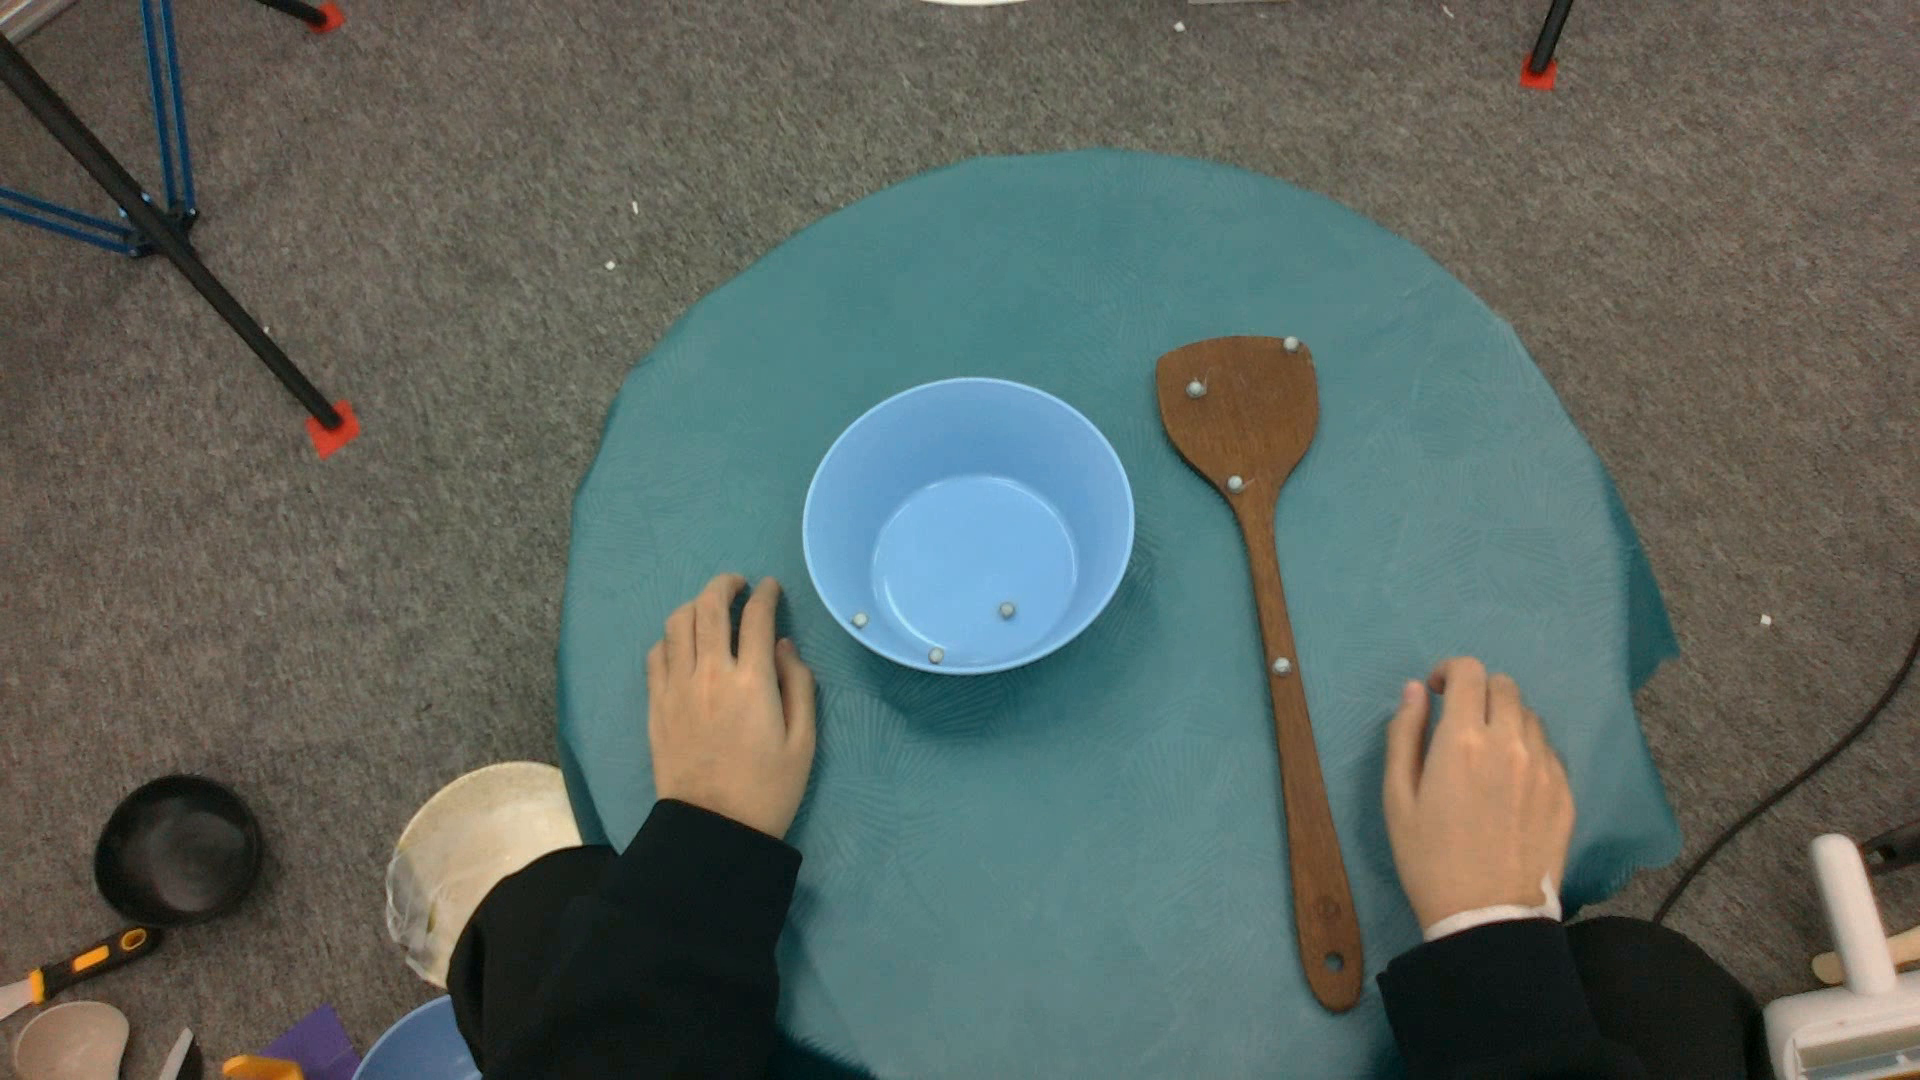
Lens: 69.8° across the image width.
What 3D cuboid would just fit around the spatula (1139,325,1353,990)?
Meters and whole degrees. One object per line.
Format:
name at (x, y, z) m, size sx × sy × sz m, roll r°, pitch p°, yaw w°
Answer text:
spatula at (0.166, 0.044, 0.750) m, size 0.096 × 0.016 × 0.387 m, roll -5°, pitch 63°, yaw 2°

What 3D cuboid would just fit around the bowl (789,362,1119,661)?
bowl at (-0.001, -0.006, 0.755) m, size 0.176 × 0.070 × 0.176 m, roll -2°, pitch 64°, yaw 4°
